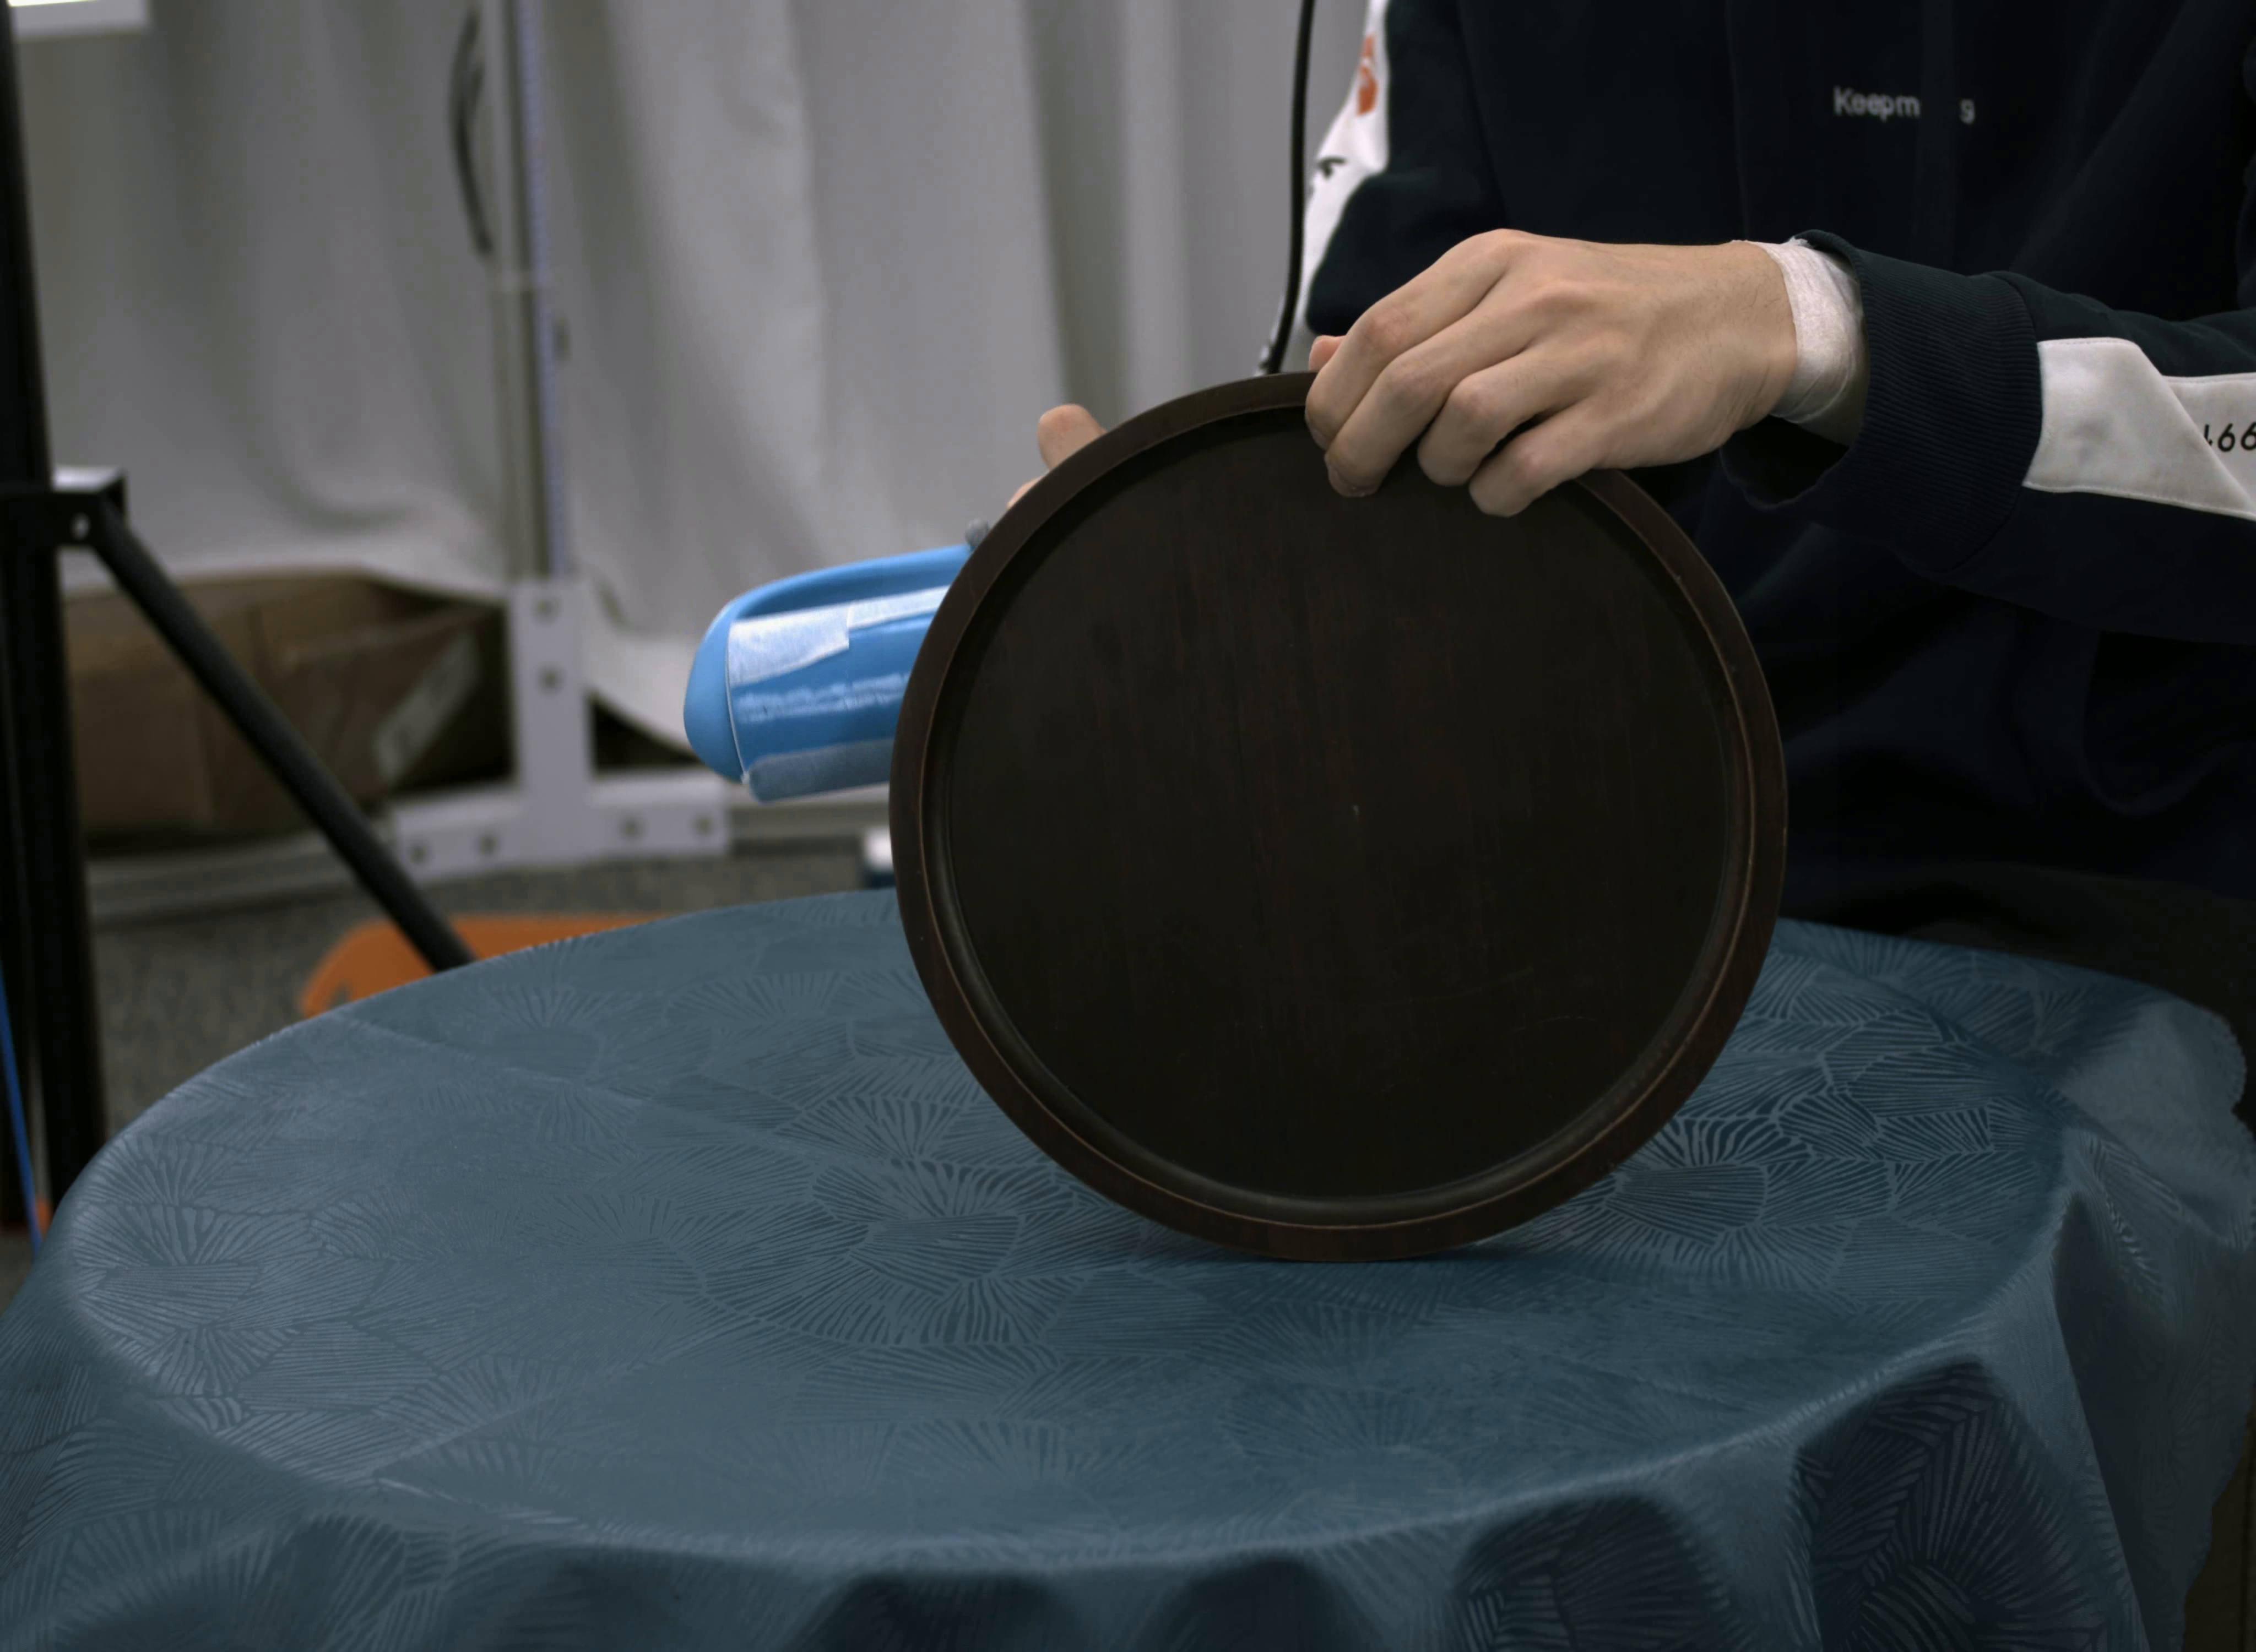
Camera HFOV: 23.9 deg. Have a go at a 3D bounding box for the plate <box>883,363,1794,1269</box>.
[{"bbox_3d":[0.059,-0.002,1.484,0.255,0.255,0.029,-1,7,6],"label":"plate"}]

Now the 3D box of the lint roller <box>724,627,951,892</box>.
[{"bbox_3d":[-0.003,-0.038,1.598,0.229,0.068,0.180,-9,16,7],"label":"lint roller"}]
